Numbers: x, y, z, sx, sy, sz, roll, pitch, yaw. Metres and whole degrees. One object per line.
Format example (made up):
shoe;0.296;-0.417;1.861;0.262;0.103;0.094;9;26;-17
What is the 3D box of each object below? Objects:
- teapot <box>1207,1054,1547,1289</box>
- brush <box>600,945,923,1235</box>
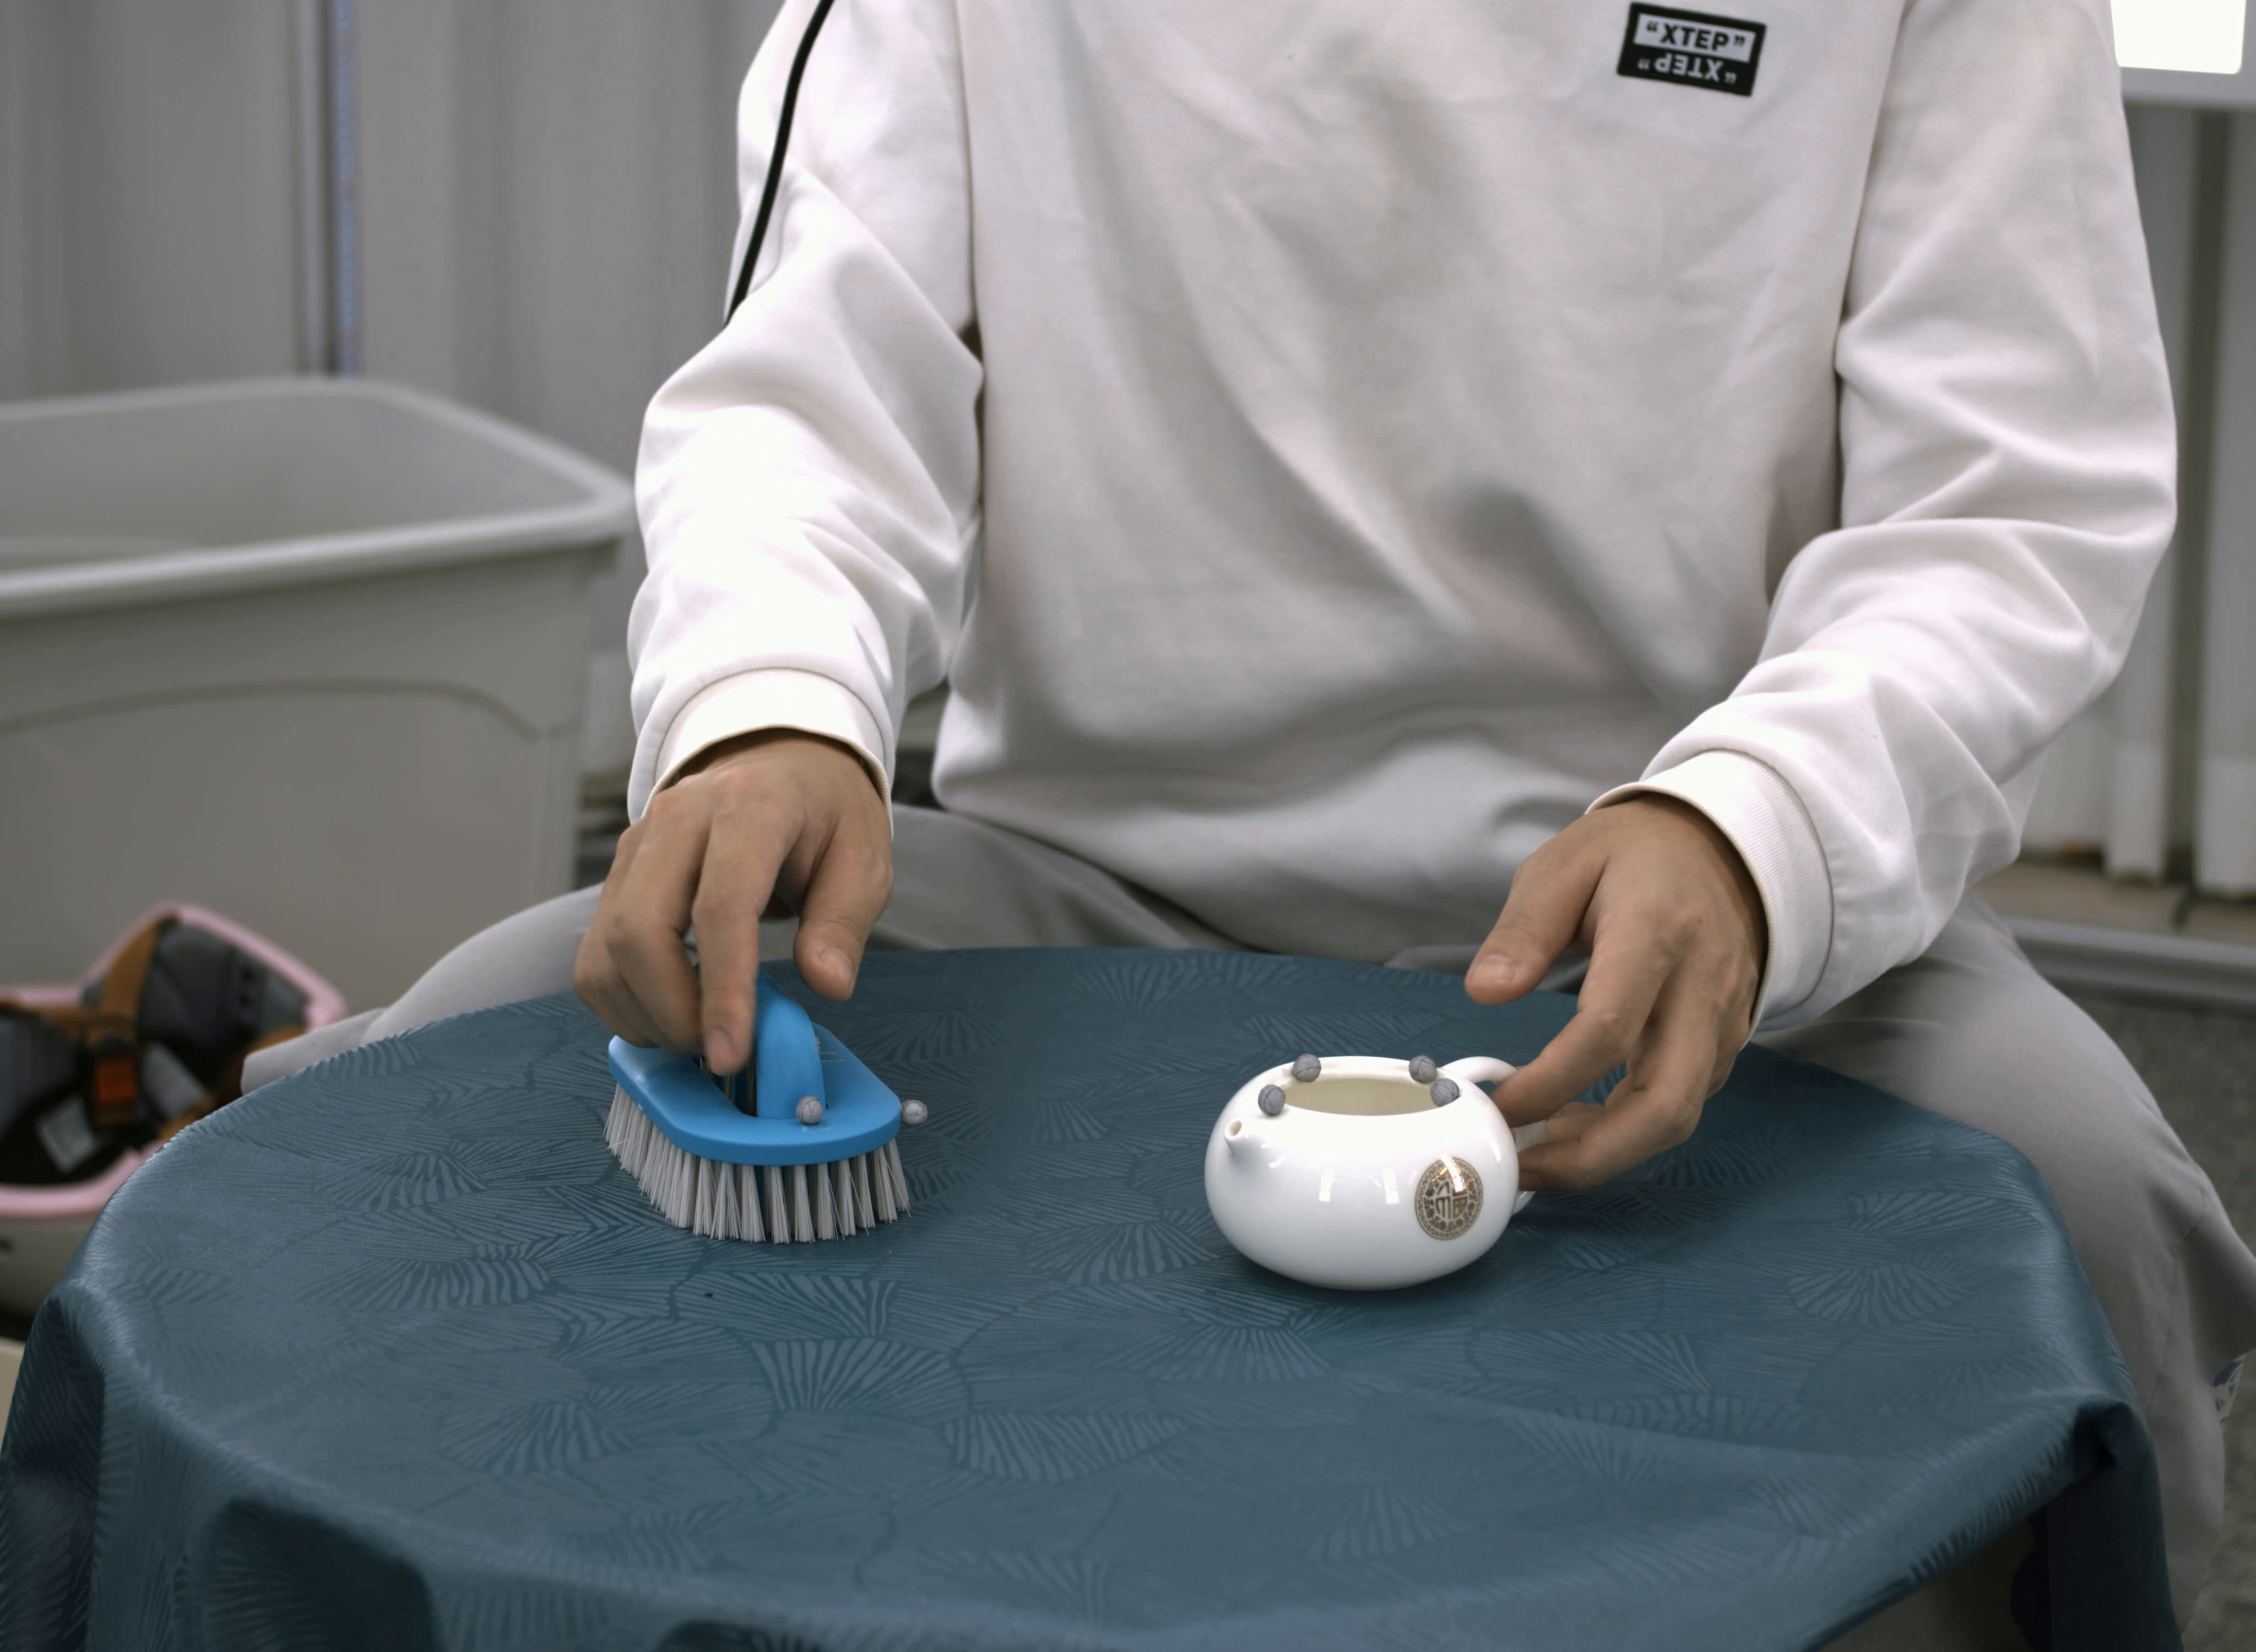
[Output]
teapot;0.078;0.101;1.572;0.128;0.057;0.092;-13;16;-44
brush;-0.117;0.075;1.634;0.084;0.064;0.140;-9;17;-17
